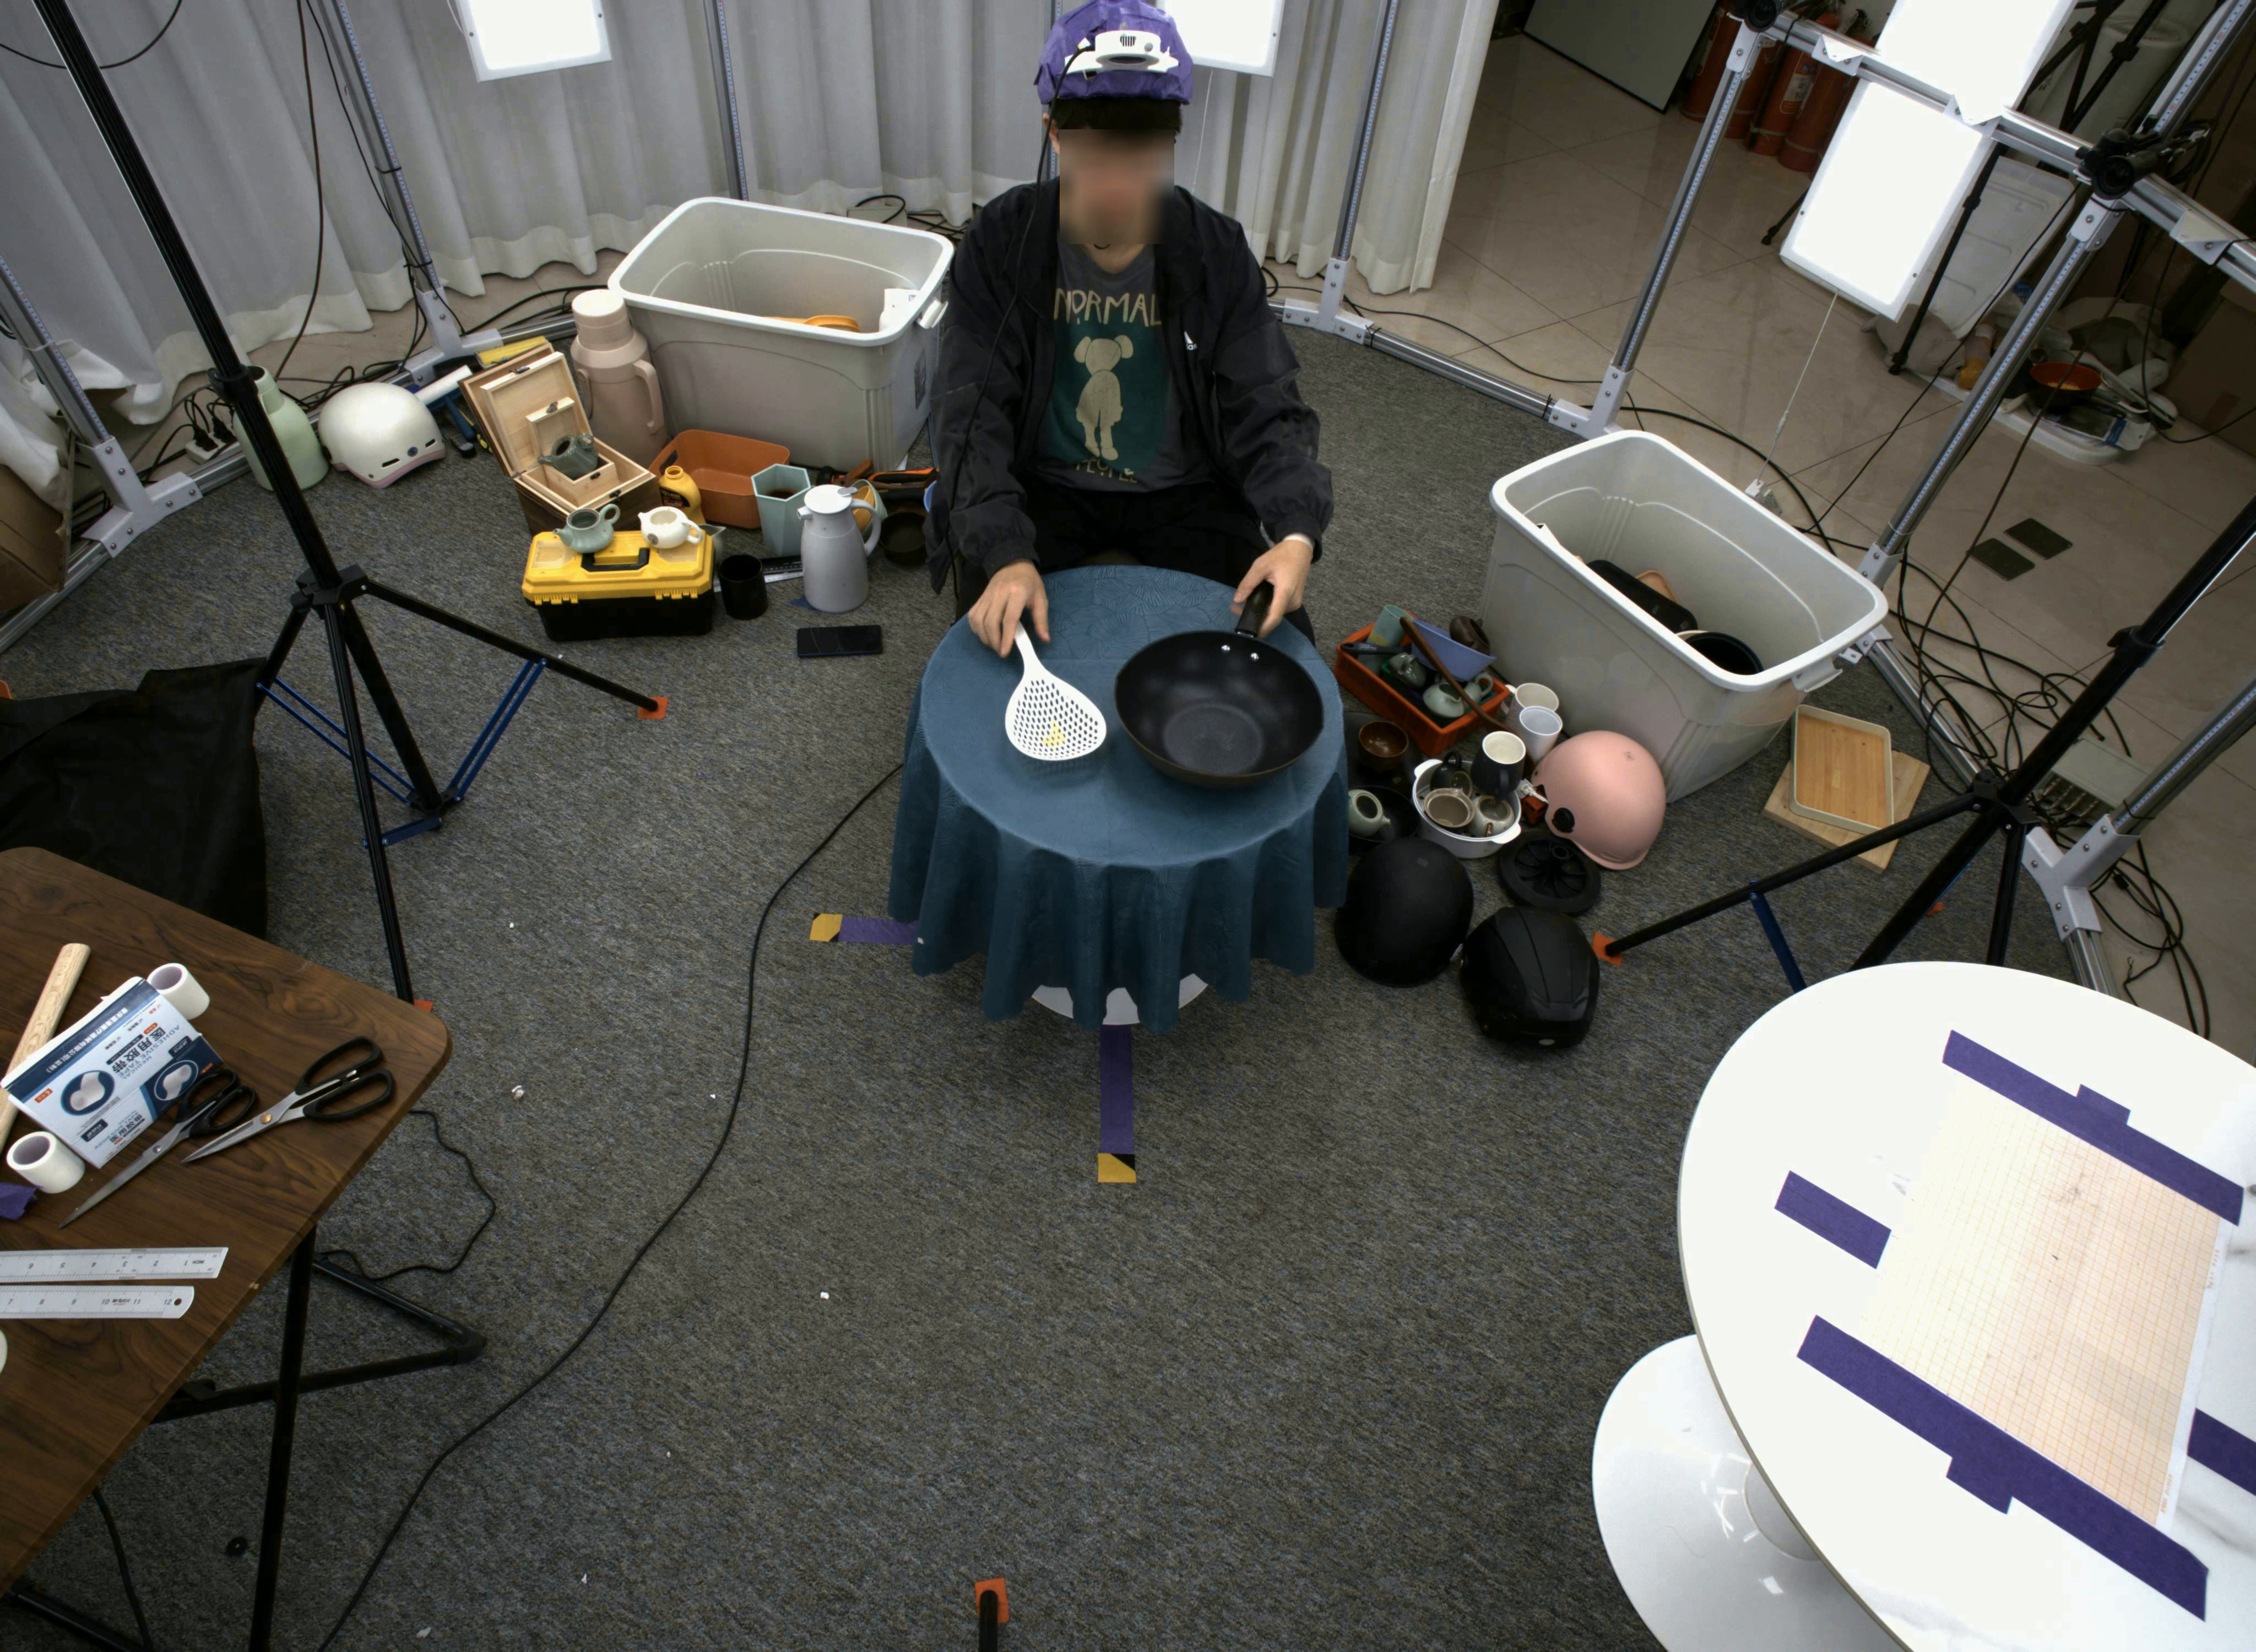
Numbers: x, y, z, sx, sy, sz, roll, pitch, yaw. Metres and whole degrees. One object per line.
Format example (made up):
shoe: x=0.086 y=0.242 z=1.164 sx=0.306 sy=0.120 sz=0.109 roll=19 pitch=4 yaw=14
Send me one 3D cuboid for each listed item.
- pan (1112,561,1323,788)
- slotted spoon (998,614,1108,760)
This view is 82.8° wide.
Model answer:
pan: x=0.146 y=-0.211 z=1.805 sx=0.289 sy=0.085 sz=0.473 roll=15 pitch=49 yaw=9
slotted spoon: x=-0.129 y=-0.207 z=1.813 sx=0.137 sy=0.049 sz=0.356 roll=-11 pitch=50 yaw=-13
